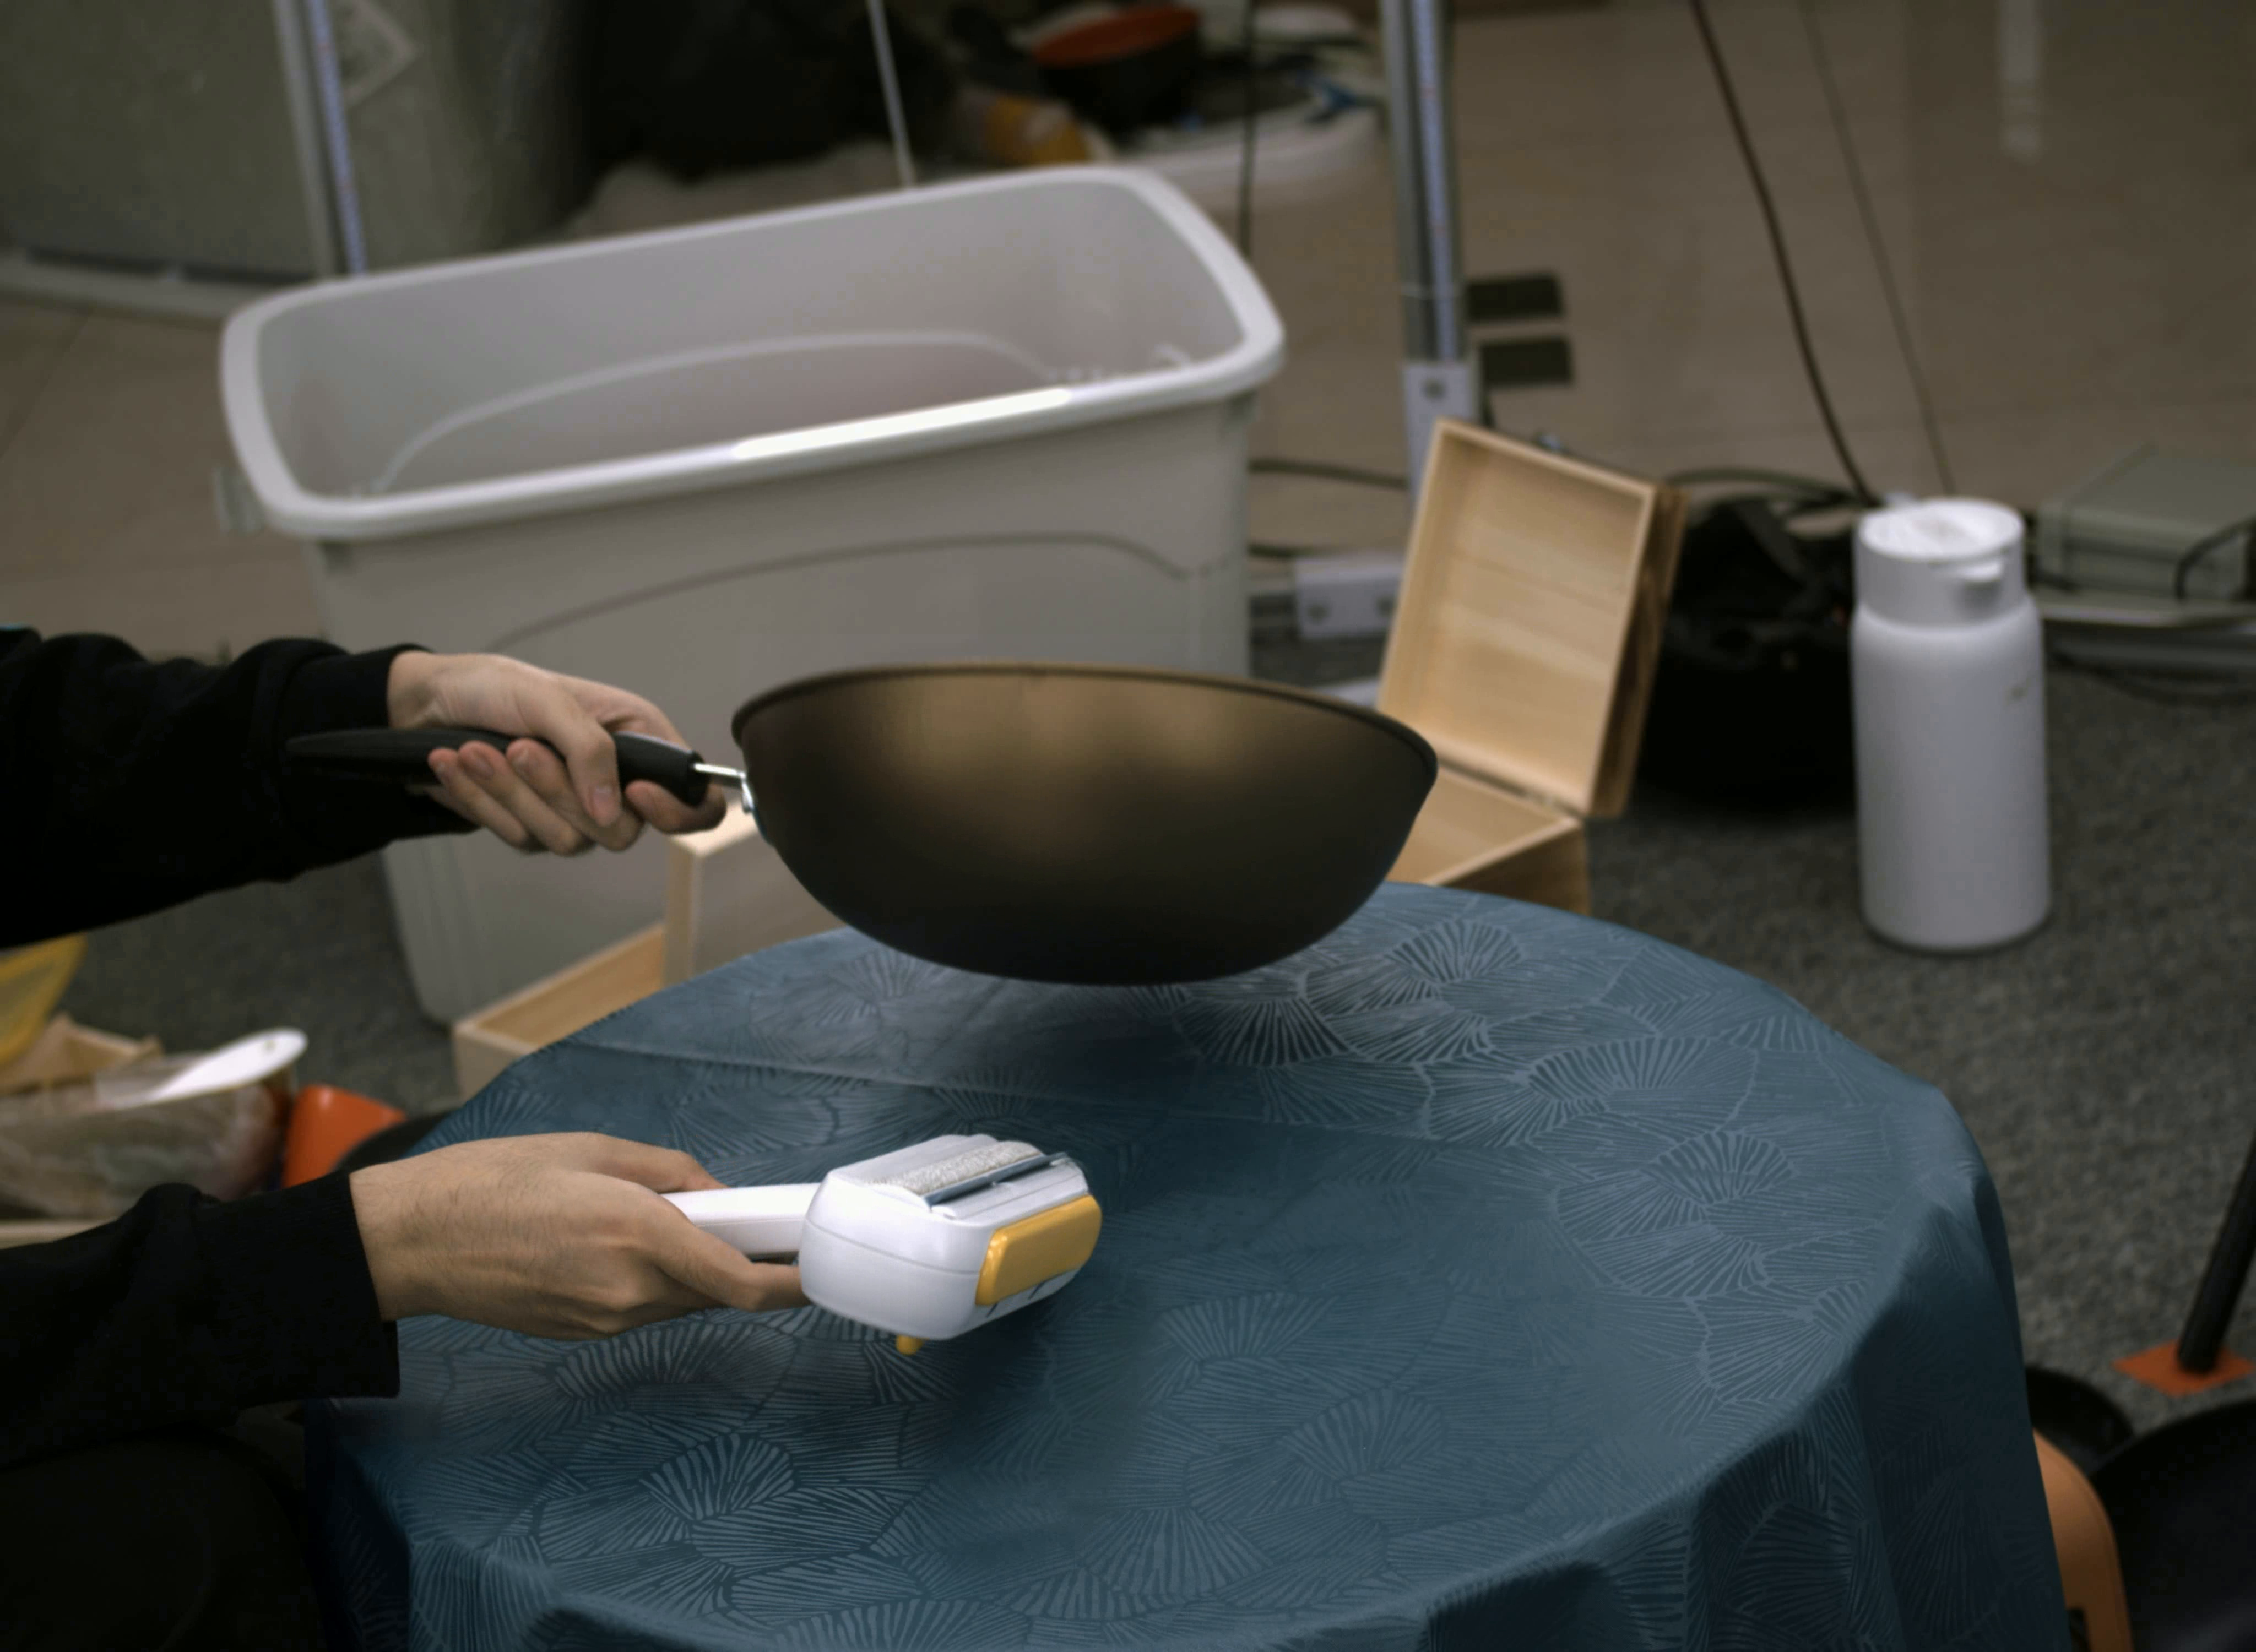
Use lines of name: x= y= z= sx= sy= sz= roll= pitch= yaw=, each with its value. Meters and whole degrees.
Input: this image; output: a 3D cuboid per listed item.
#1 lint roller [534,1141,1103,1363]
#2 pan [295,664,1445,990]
lint roller: x=-0.121 y=0.143 z=2.022 sx=0.192 sy=0.075 sz=0.192 roll=10 pitch=9 yaw=18
pan: x=-0.107 y=0.008 z=2.218 sx=0.462 sy=0.086 sz=0.290 roll=0 pitch=-13 yaw=10
